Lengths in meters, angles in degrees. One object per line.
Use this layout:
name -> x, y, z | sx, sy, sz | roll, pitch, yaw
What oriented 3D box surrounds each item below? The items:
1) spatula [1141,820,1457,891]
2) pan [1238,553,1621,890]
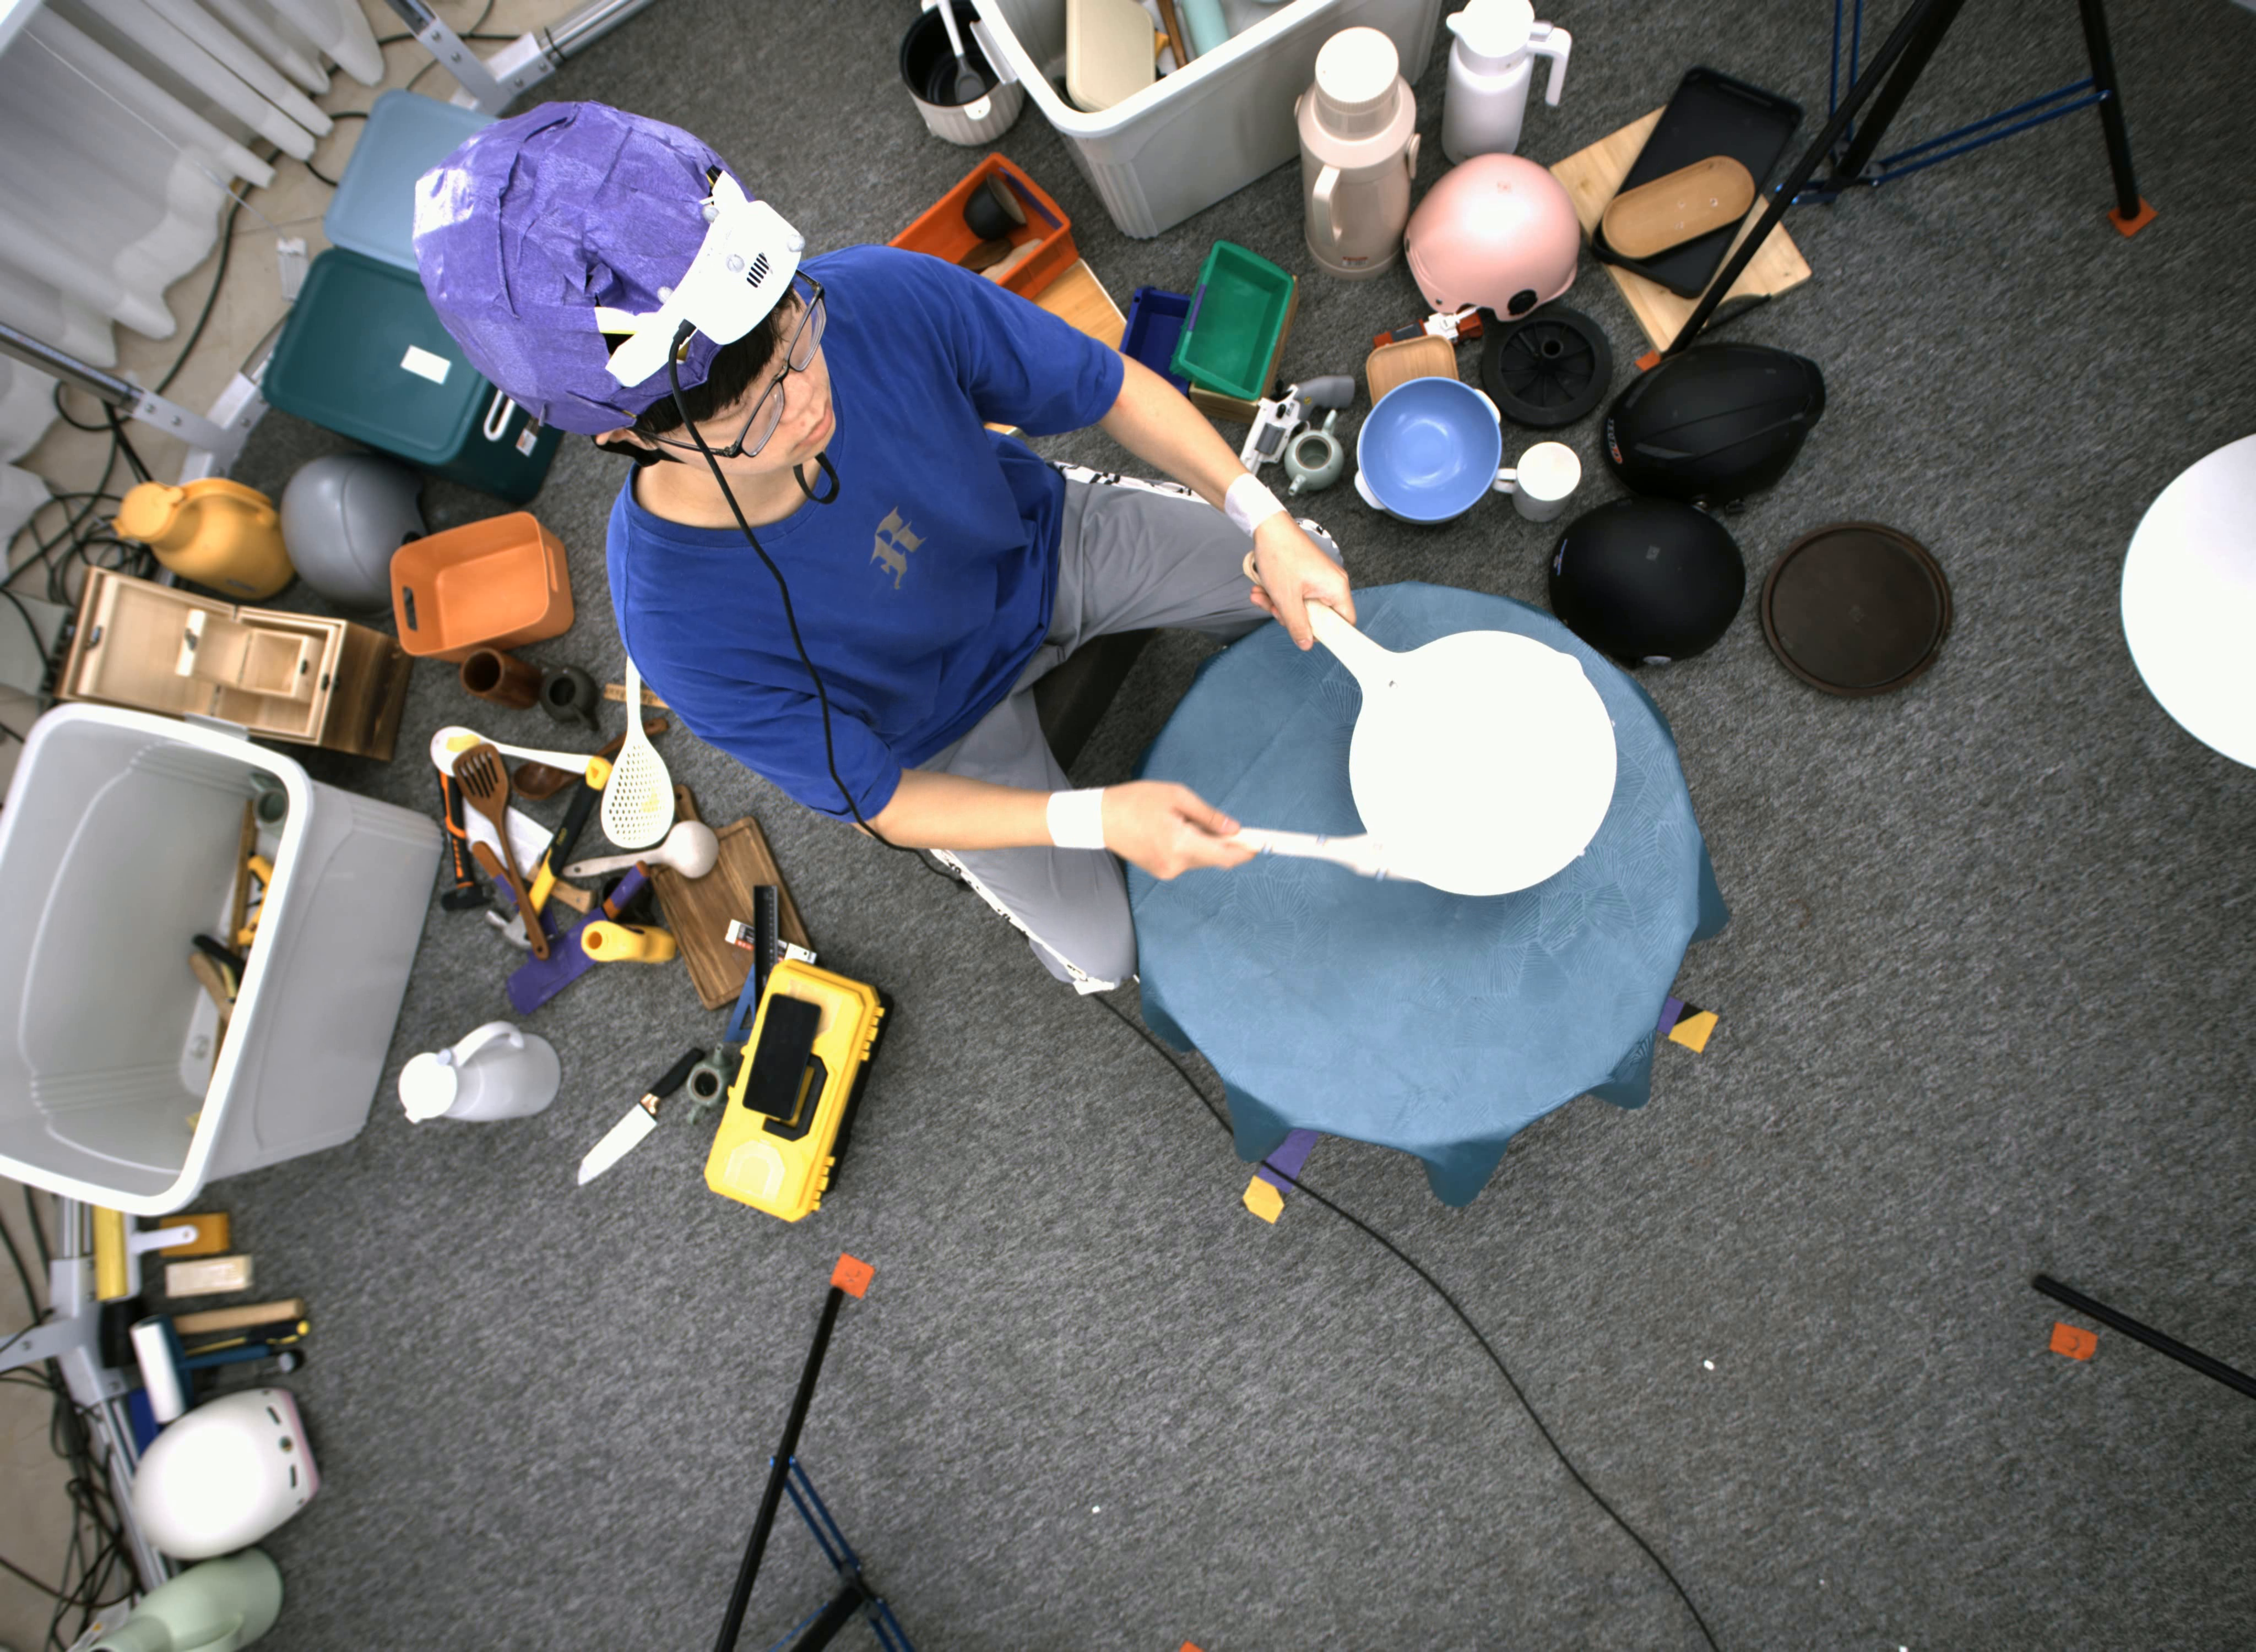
spatula -> 0.150, 0.021, 1.266 | 0.294, 0.070, 0.011 | 7, 124, 21
pan -> 0.286, -0.127, 1.353 | 0.432, 0.101, 0.267 | 44, 110, 16
